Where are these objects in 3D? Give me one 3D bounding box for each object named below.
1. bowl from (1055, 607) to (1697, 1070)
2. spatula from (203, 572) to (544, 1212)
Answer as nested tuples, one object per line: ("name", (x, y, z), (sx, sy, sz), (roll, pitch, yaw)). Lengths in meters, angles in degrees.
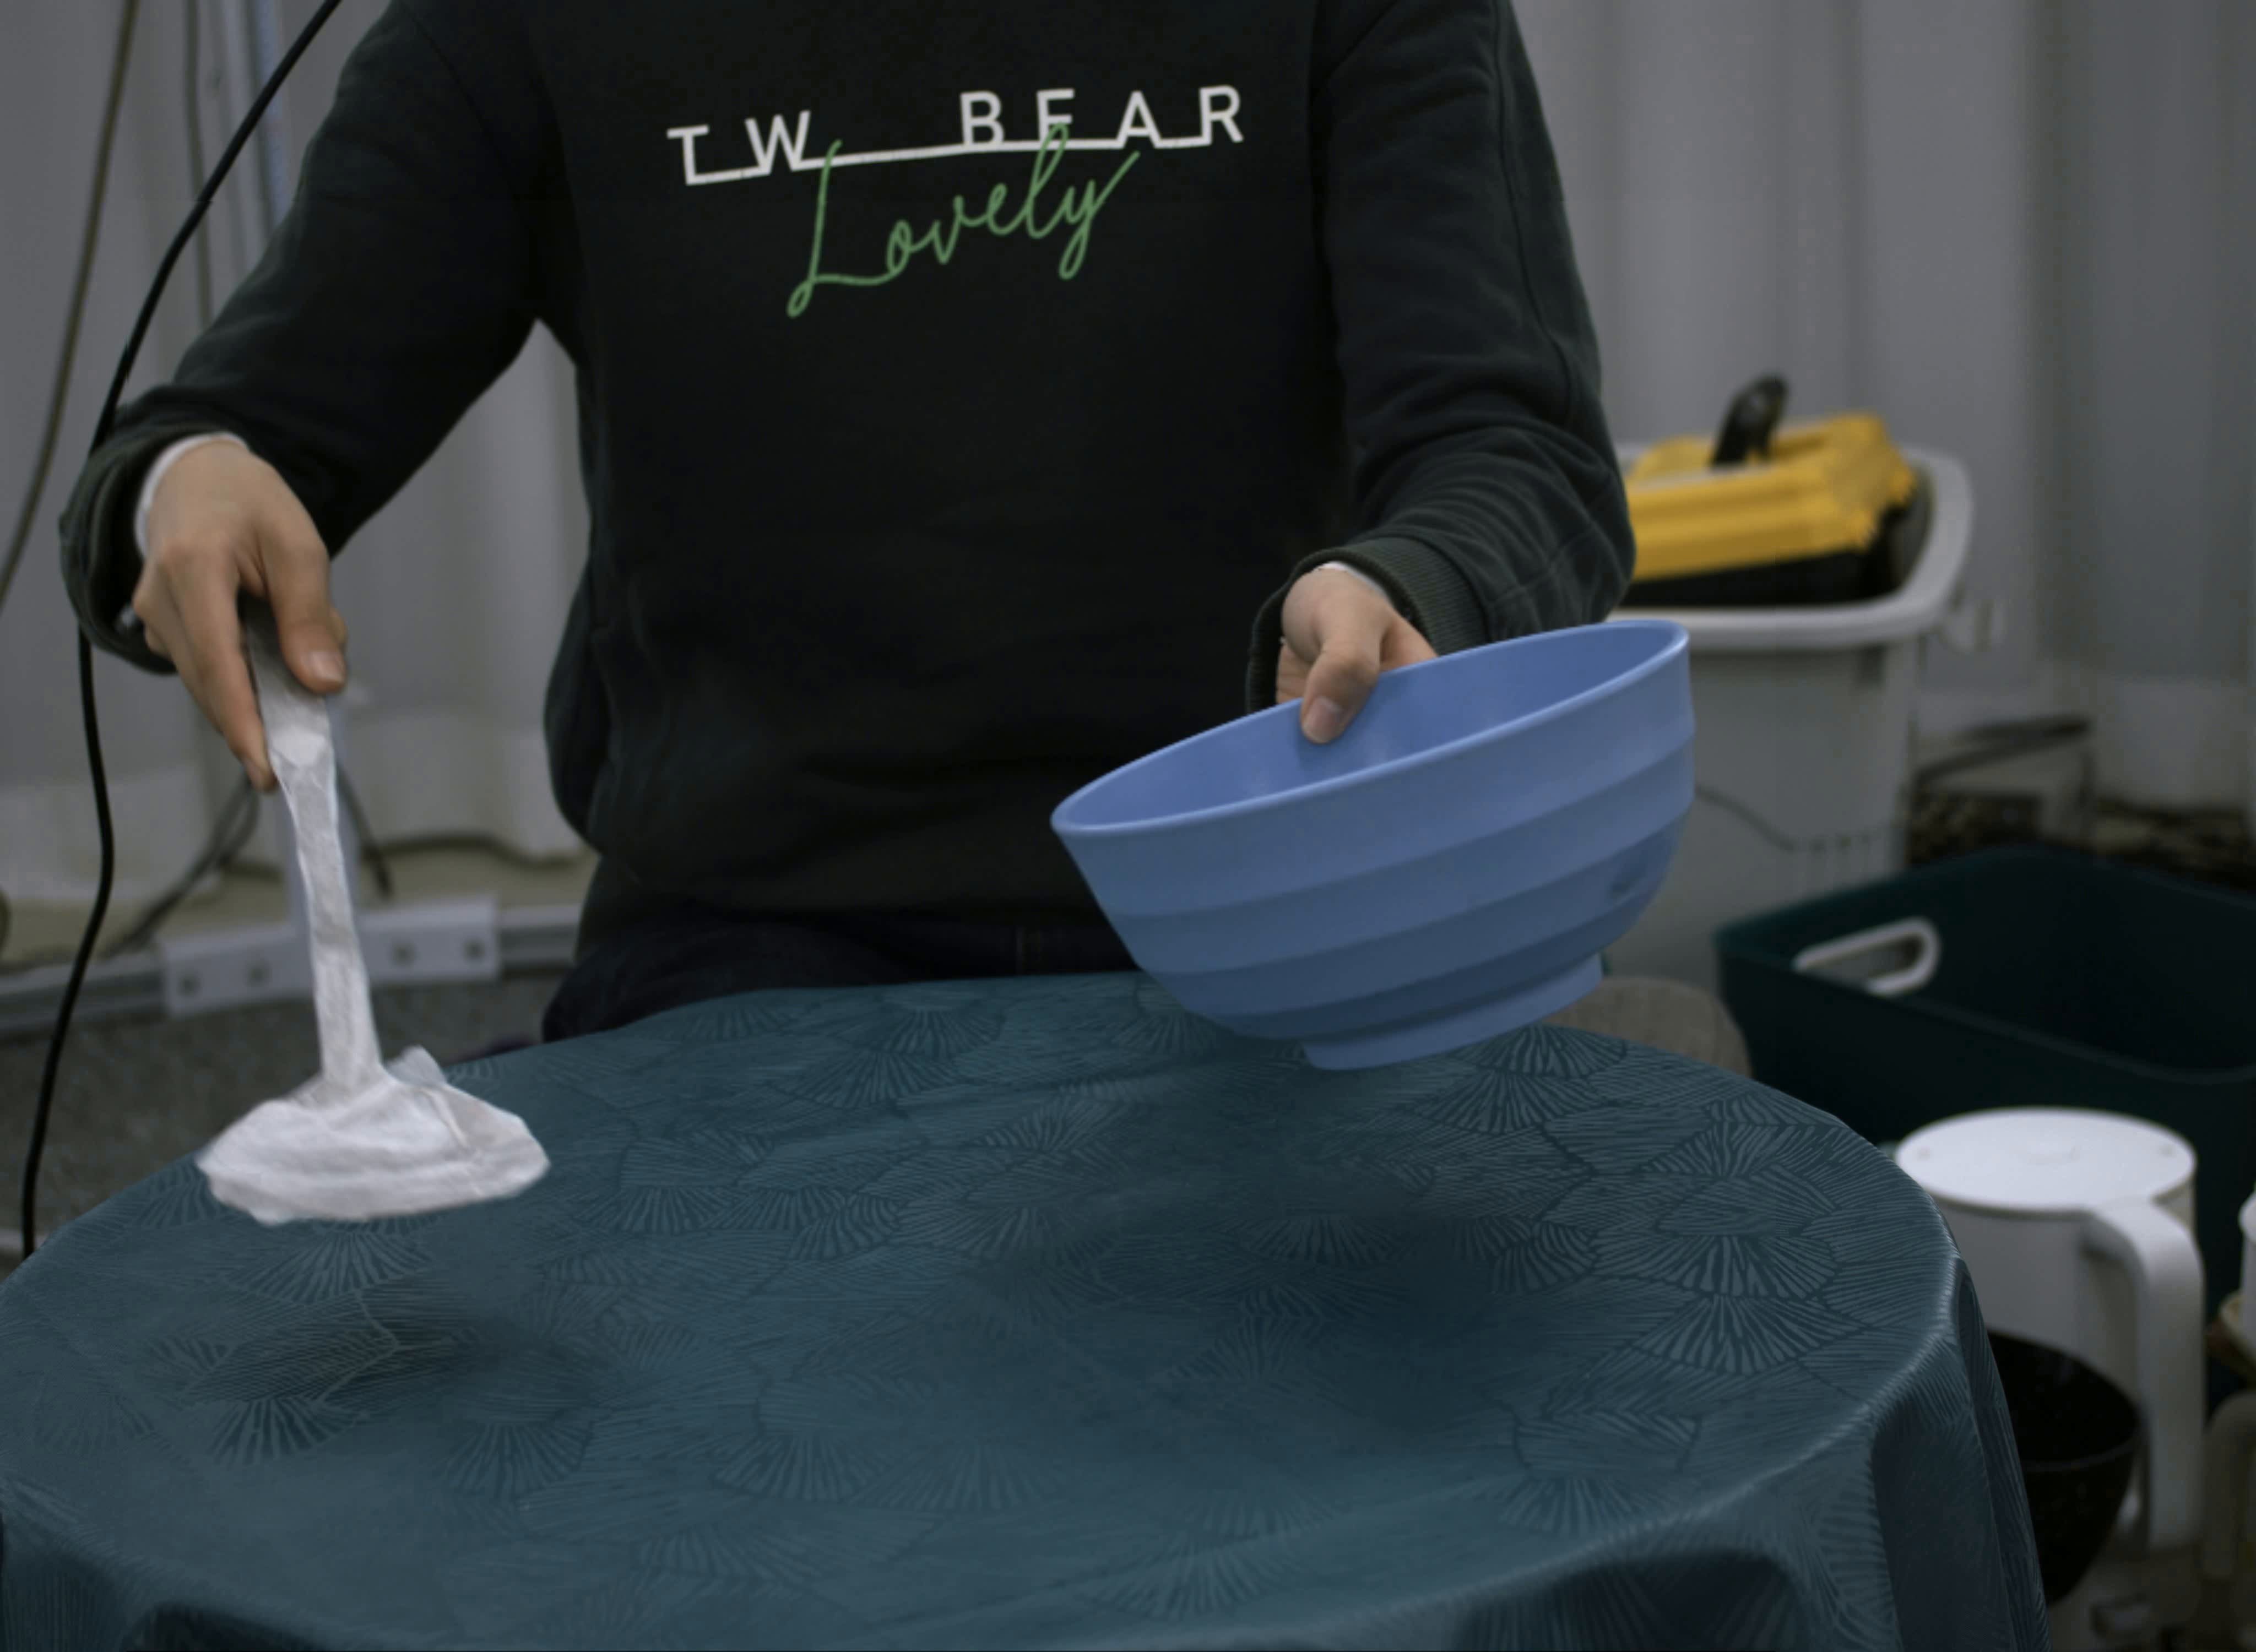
("bowl", (0.085, 0.012, 1.618), (0.196, 0.095, 0.197), (-18, 9, 2))
("spatula", (-0.248, 0.011, 1.704), (0.098, 0.044, 0.370), (-5, 39, -10))
